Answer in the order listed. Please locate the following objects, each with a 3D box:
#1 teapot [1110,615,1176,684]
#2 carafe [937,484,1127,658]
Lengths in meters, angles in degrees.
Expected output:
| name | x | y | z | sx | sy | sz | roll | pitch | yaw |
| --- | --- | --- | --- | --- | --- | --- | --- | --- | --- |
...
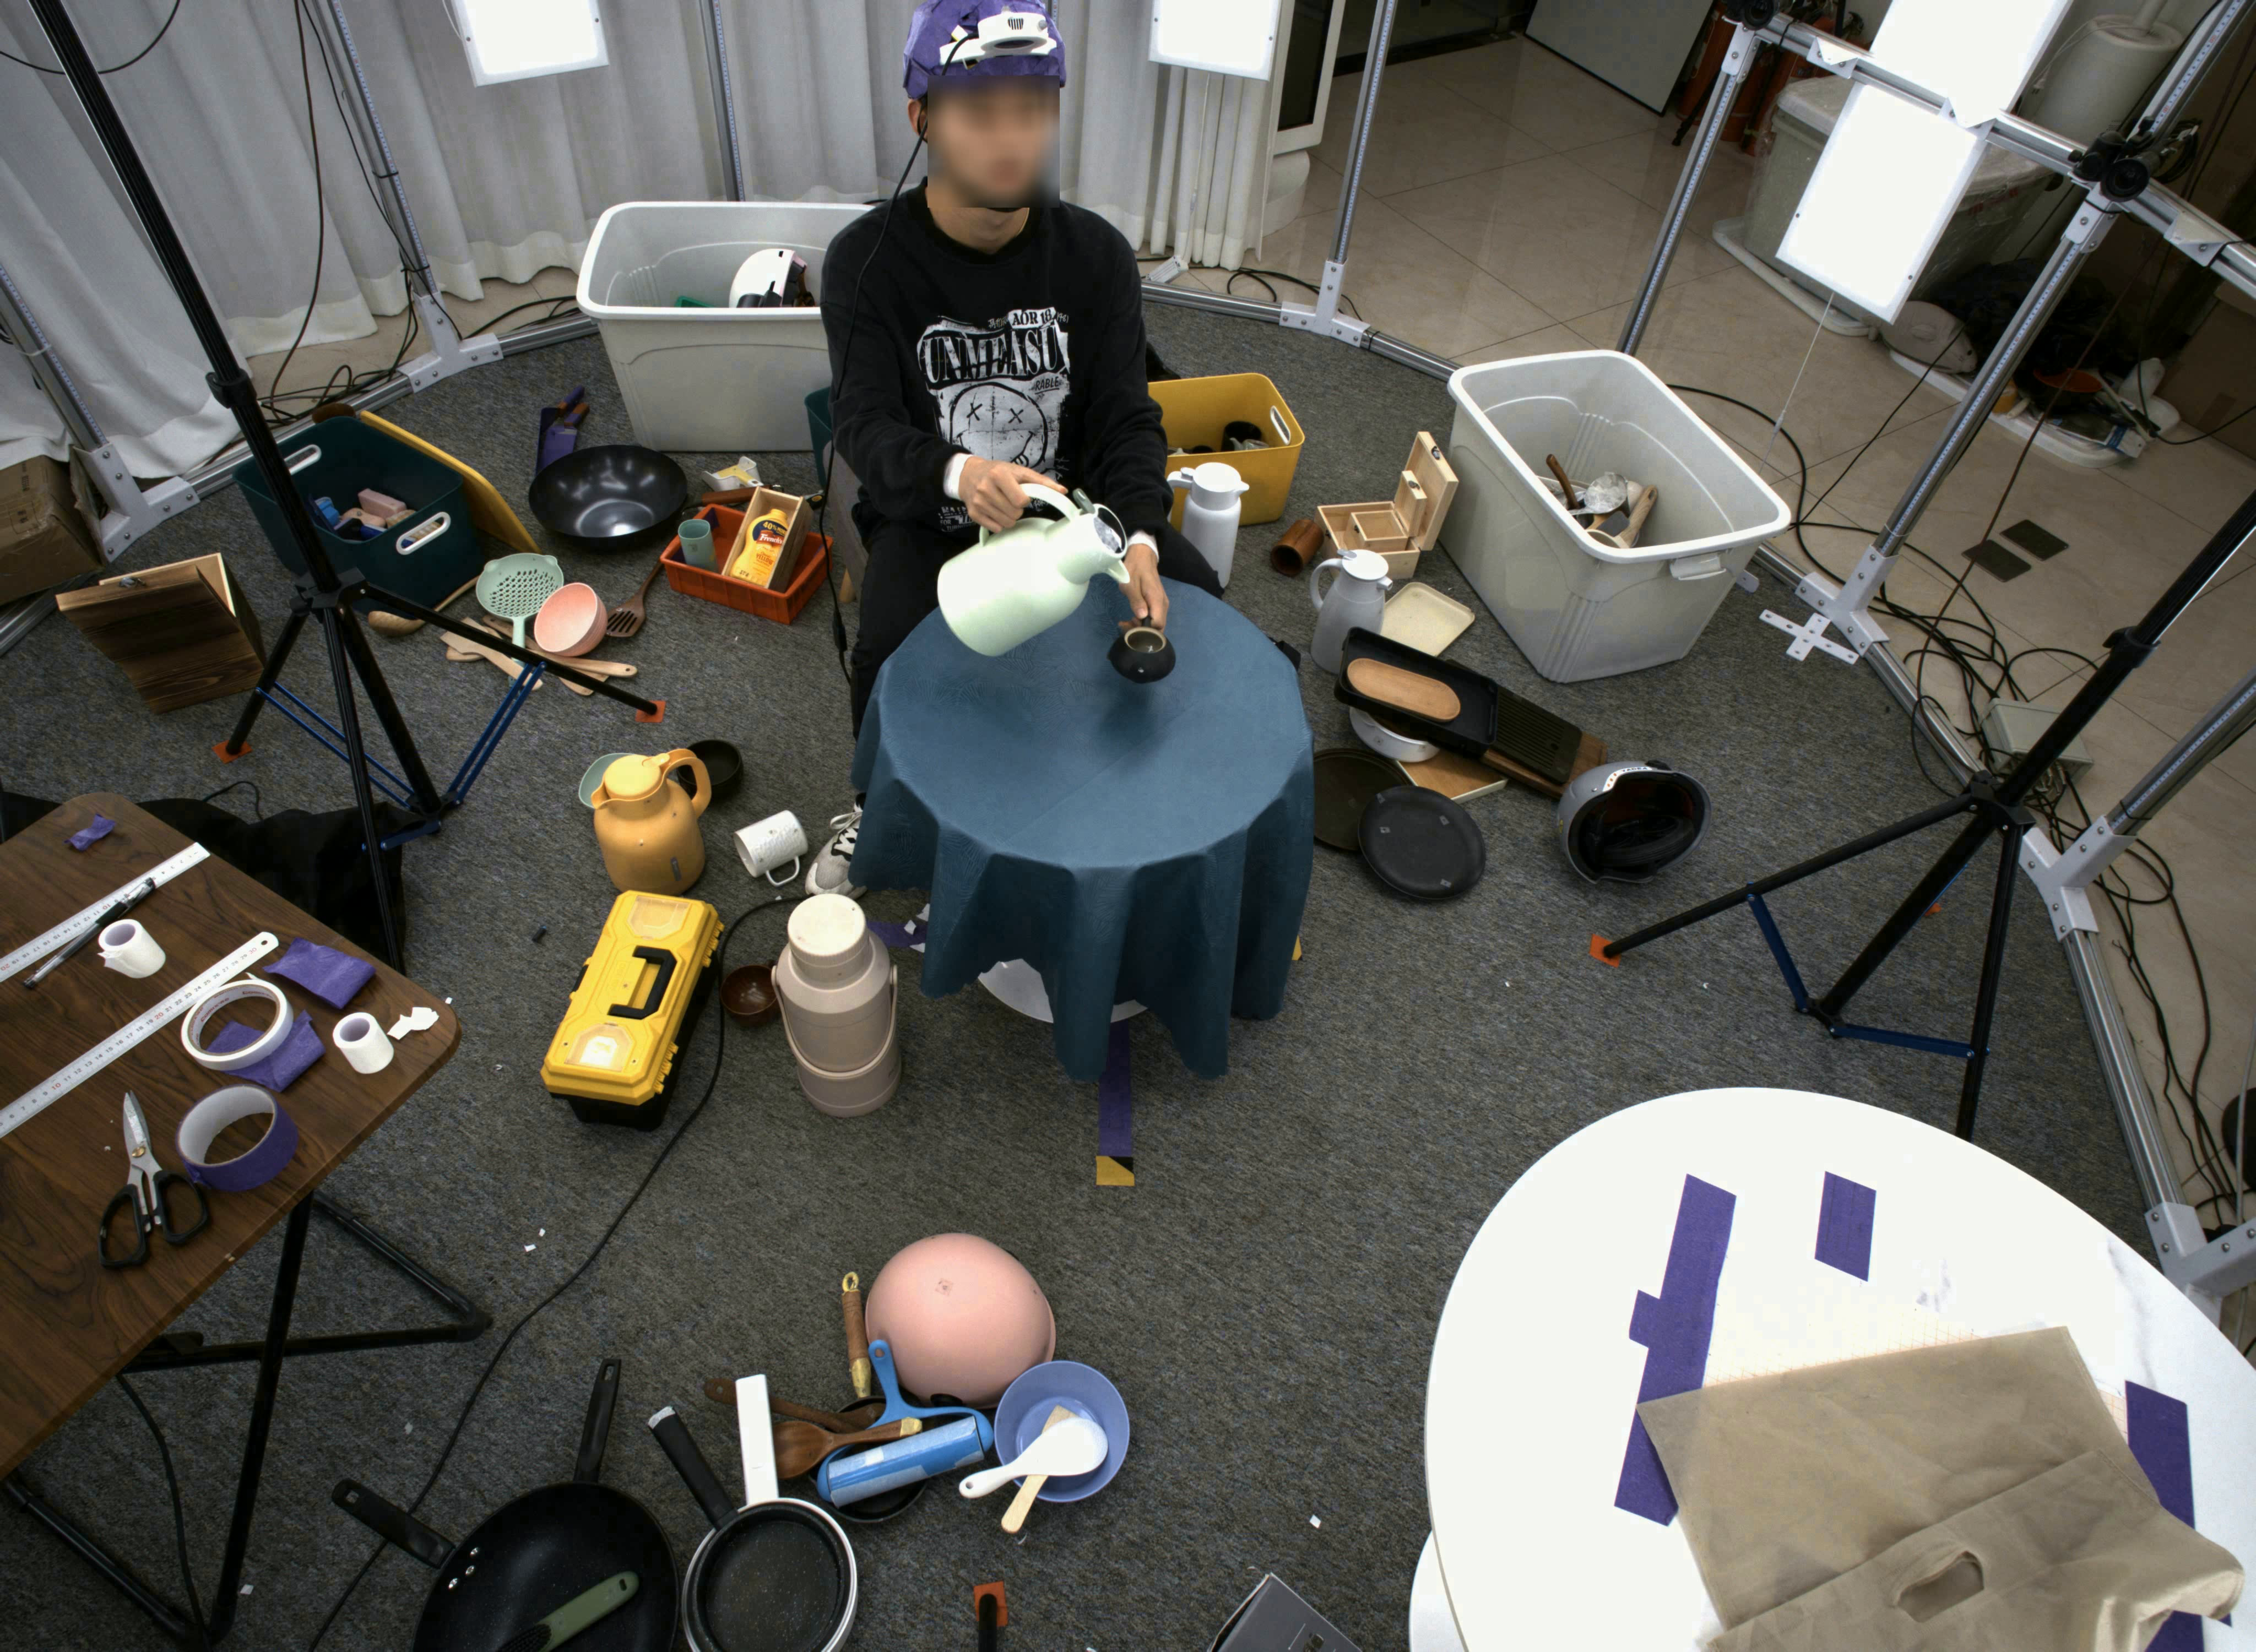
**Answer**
| name | x | y | z | sx | sy | sz | roll | pitch | yaw |
| --- | --- | --- | --- | --- | --- | --- | --- | --- | --- |
| teapot | 0.021 | -0.236 | 1.762 | 0.091 | 0.052 | 0.136 | 8 | 46 | -2 |
| carafe | -0.131 | -0.340 | 1.680 | 0.184 | 0.255 | 0.147 | 44 | 42 | -23 |
